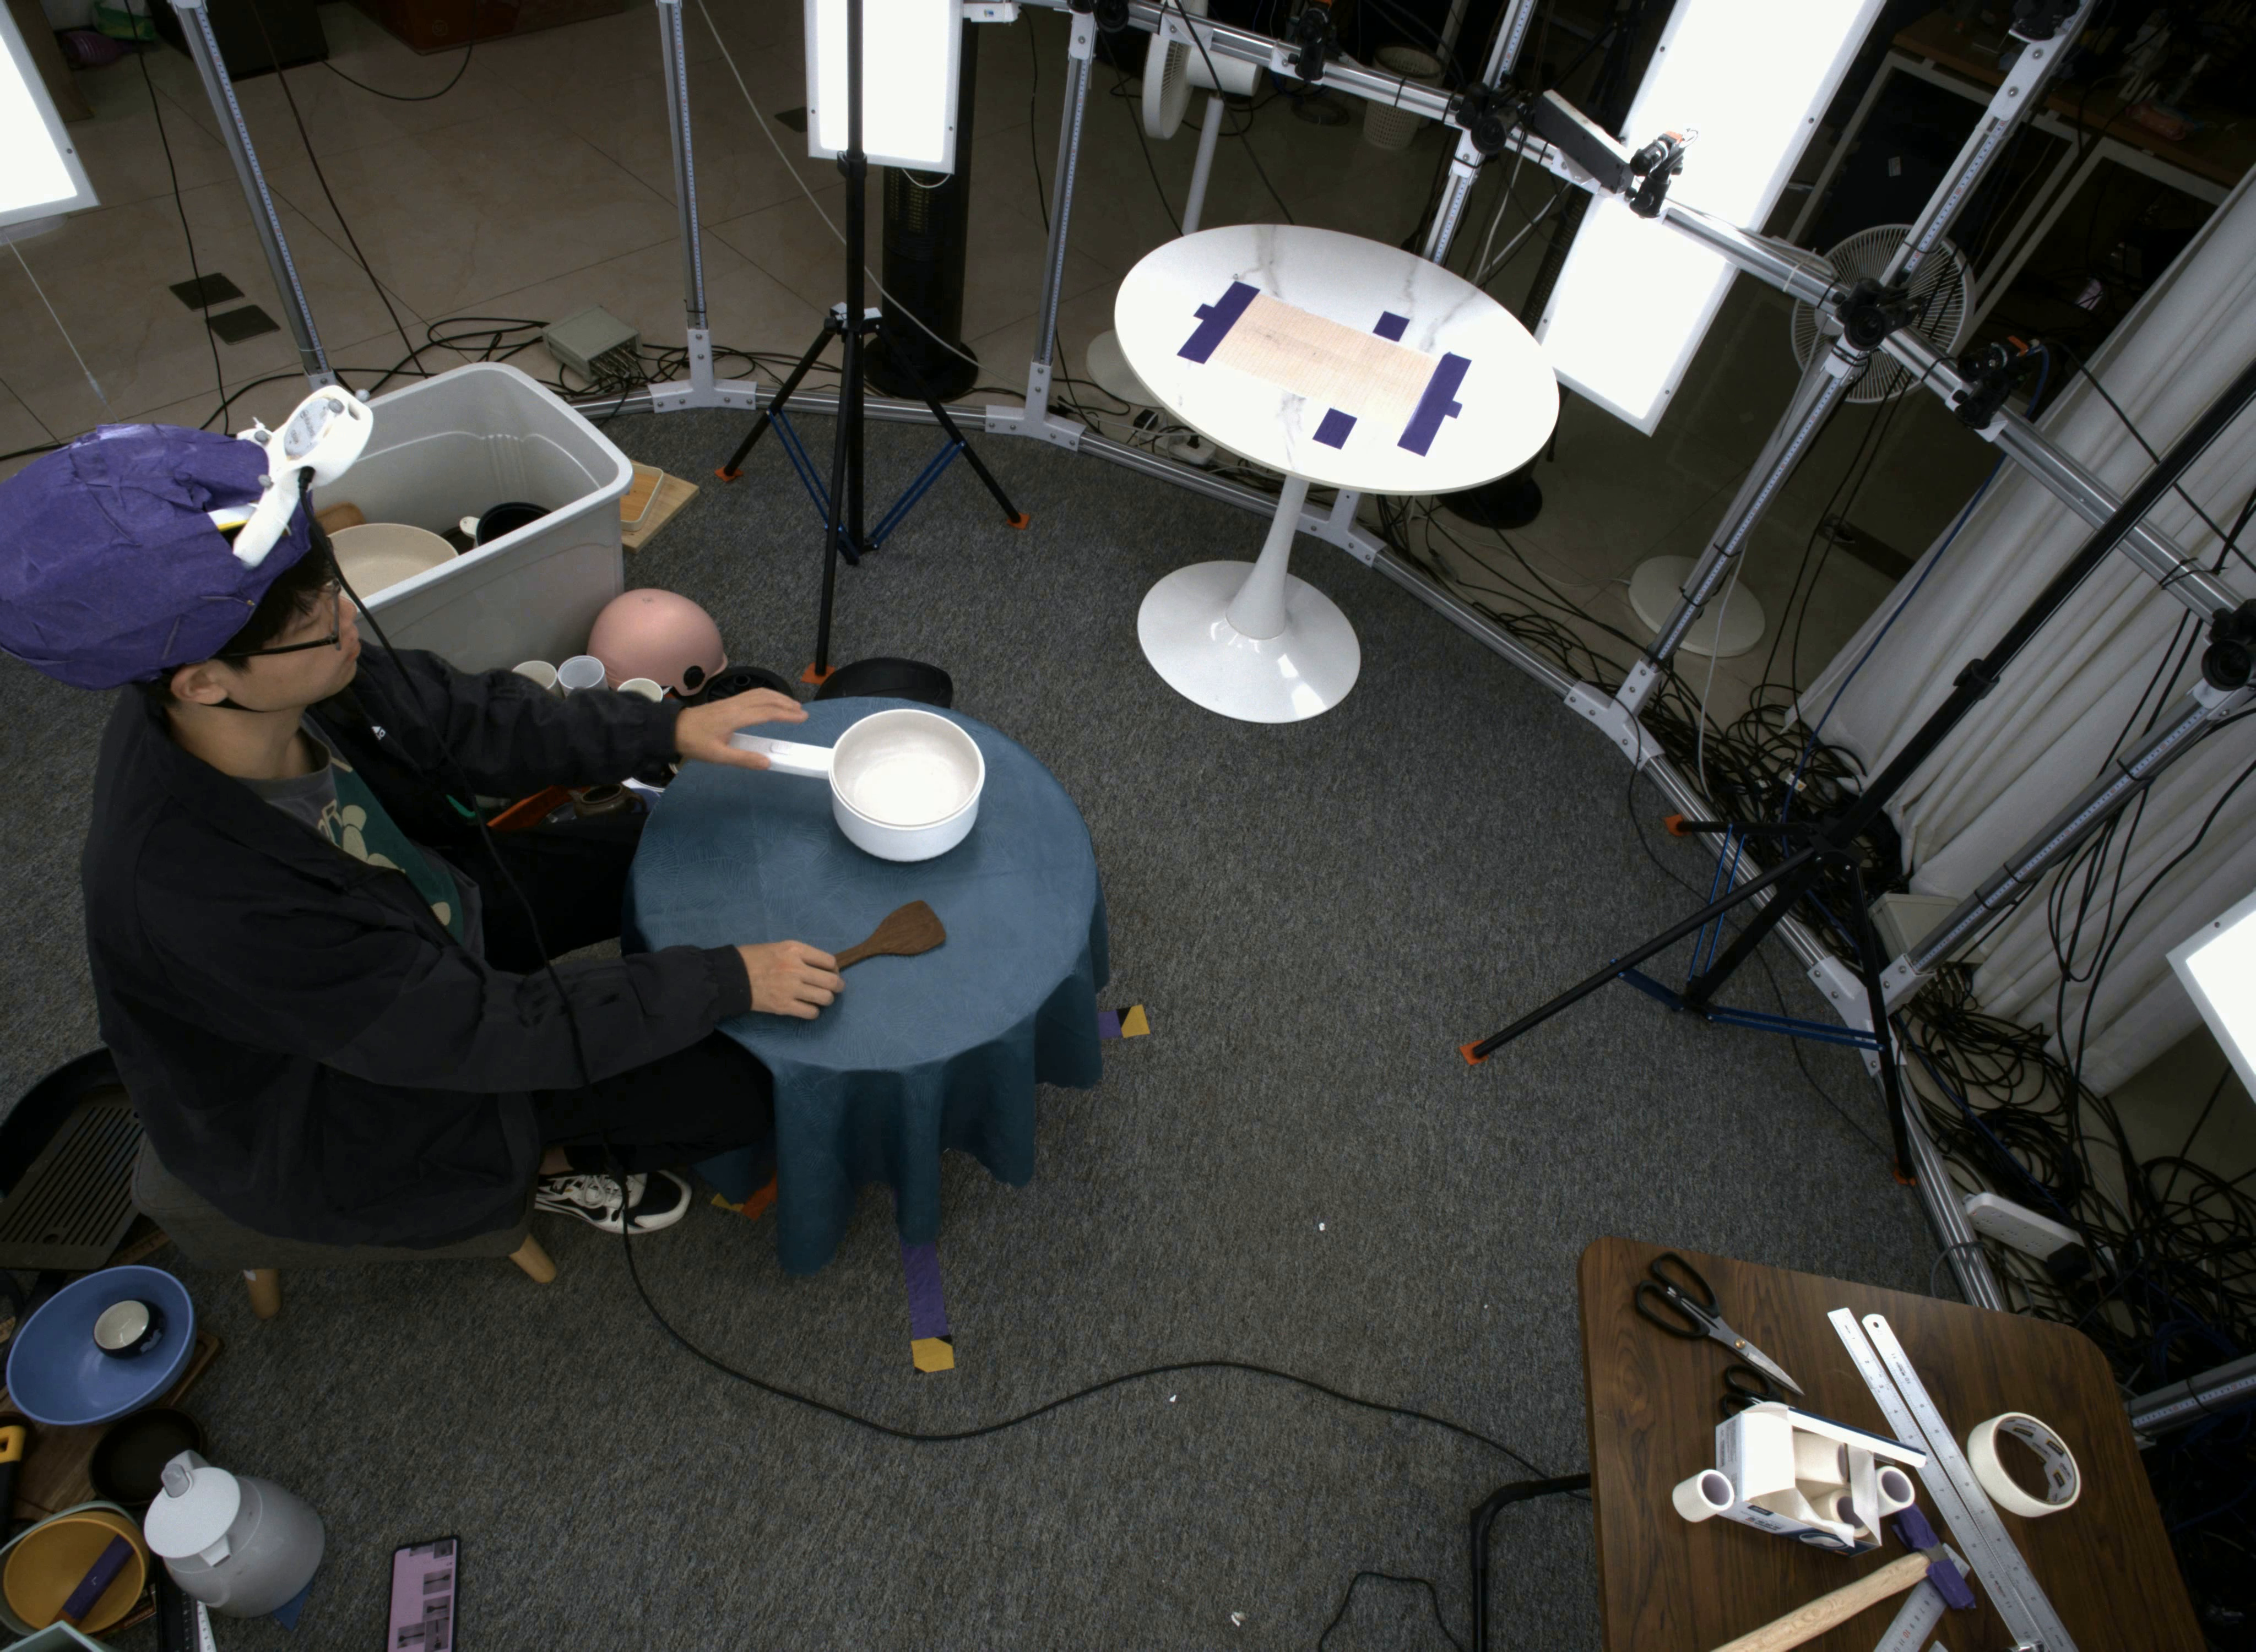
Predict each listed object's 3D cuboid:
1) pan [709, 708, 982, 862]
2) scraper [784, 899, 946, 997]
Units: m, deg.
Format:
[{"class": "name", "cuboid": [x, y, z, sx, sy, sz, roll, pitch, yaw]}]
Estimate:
[{"class": "pan", "cuboid": [-0.371, -0.060, 1.721, 0.353, 0.104, 0.198, 8, 53, -6]}, {"class": "scraper", "cuboid": [-0.331, 0.157, 1.627, 0.212, 0.011, 0.074, -25, 62, -27]}]
